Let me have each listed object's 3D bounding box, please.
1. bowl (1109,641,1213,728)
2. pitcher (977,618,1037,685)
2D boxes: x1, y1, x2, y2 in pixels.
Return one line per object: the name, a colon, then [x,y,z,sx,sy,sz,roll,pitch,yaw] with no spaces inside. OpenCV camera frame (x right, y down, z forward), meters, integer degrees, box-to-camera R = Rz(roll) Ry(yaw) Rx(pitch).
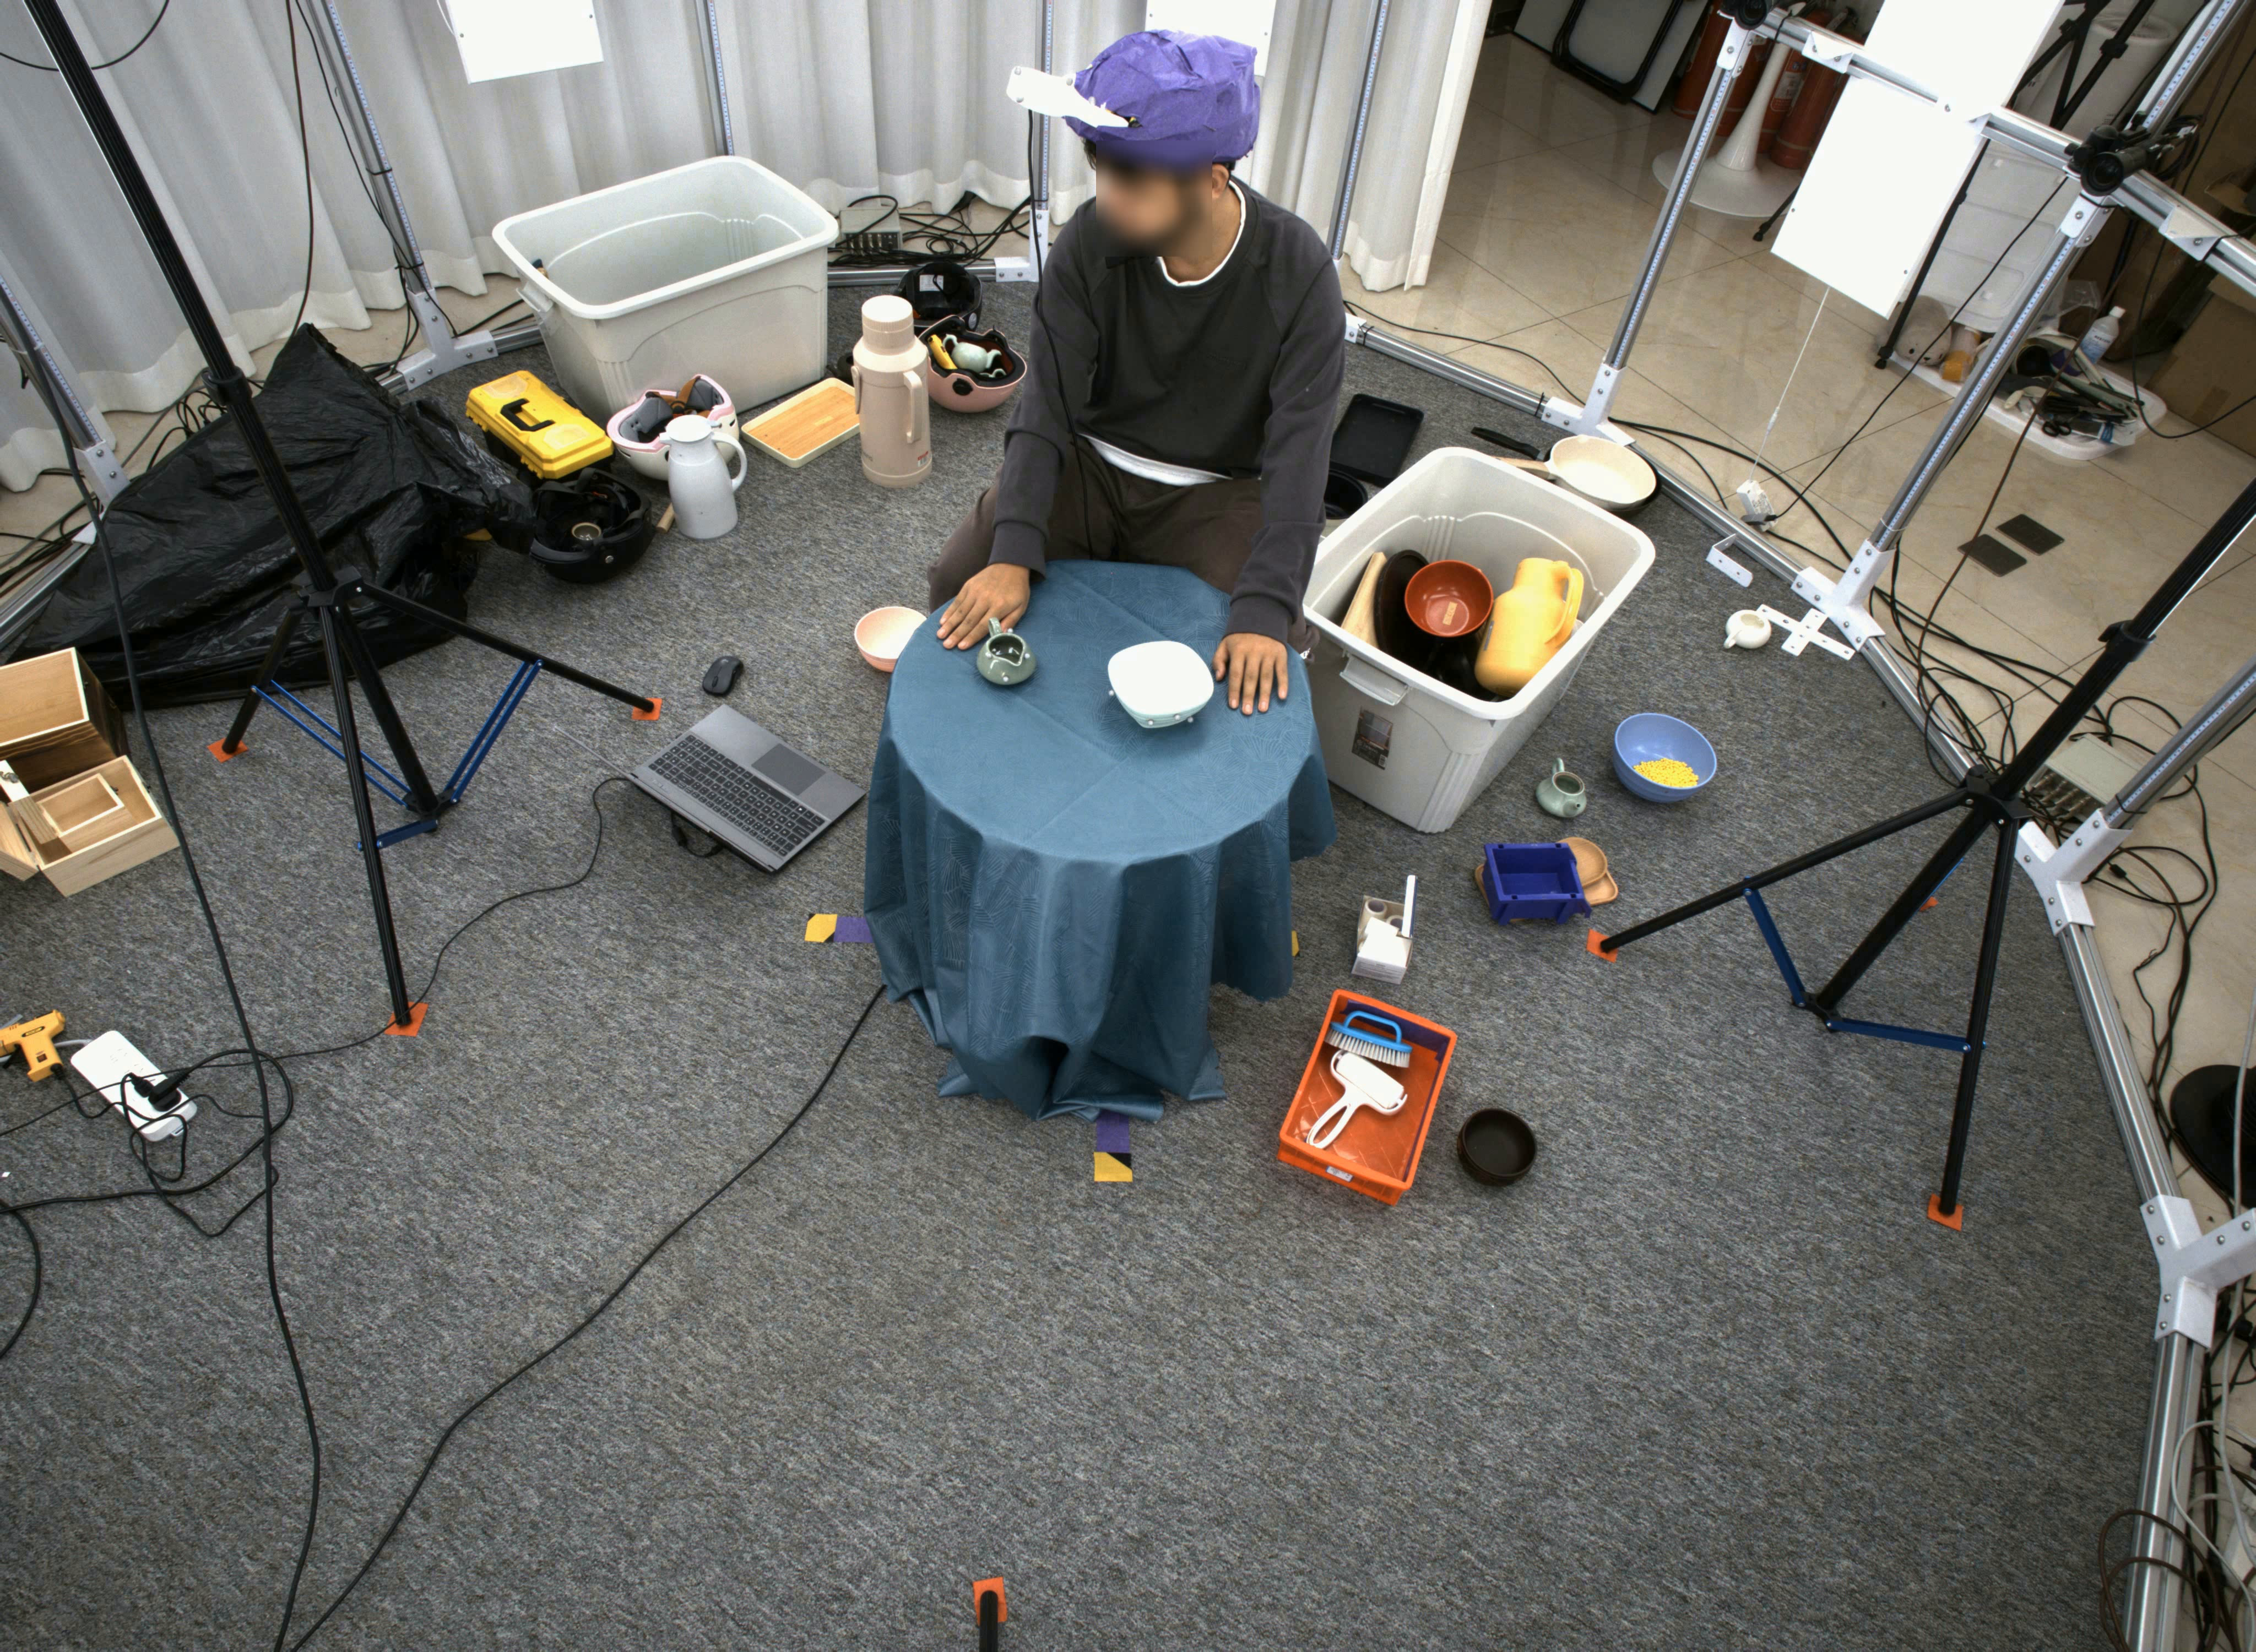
bowl: [0.044,-0.190,1.798,0.151,0.057,0.155,2,50,-3]
pitcher: [-0.175,-0.245,1.830,0.084,0.055,0.115,-17,52,-19]
